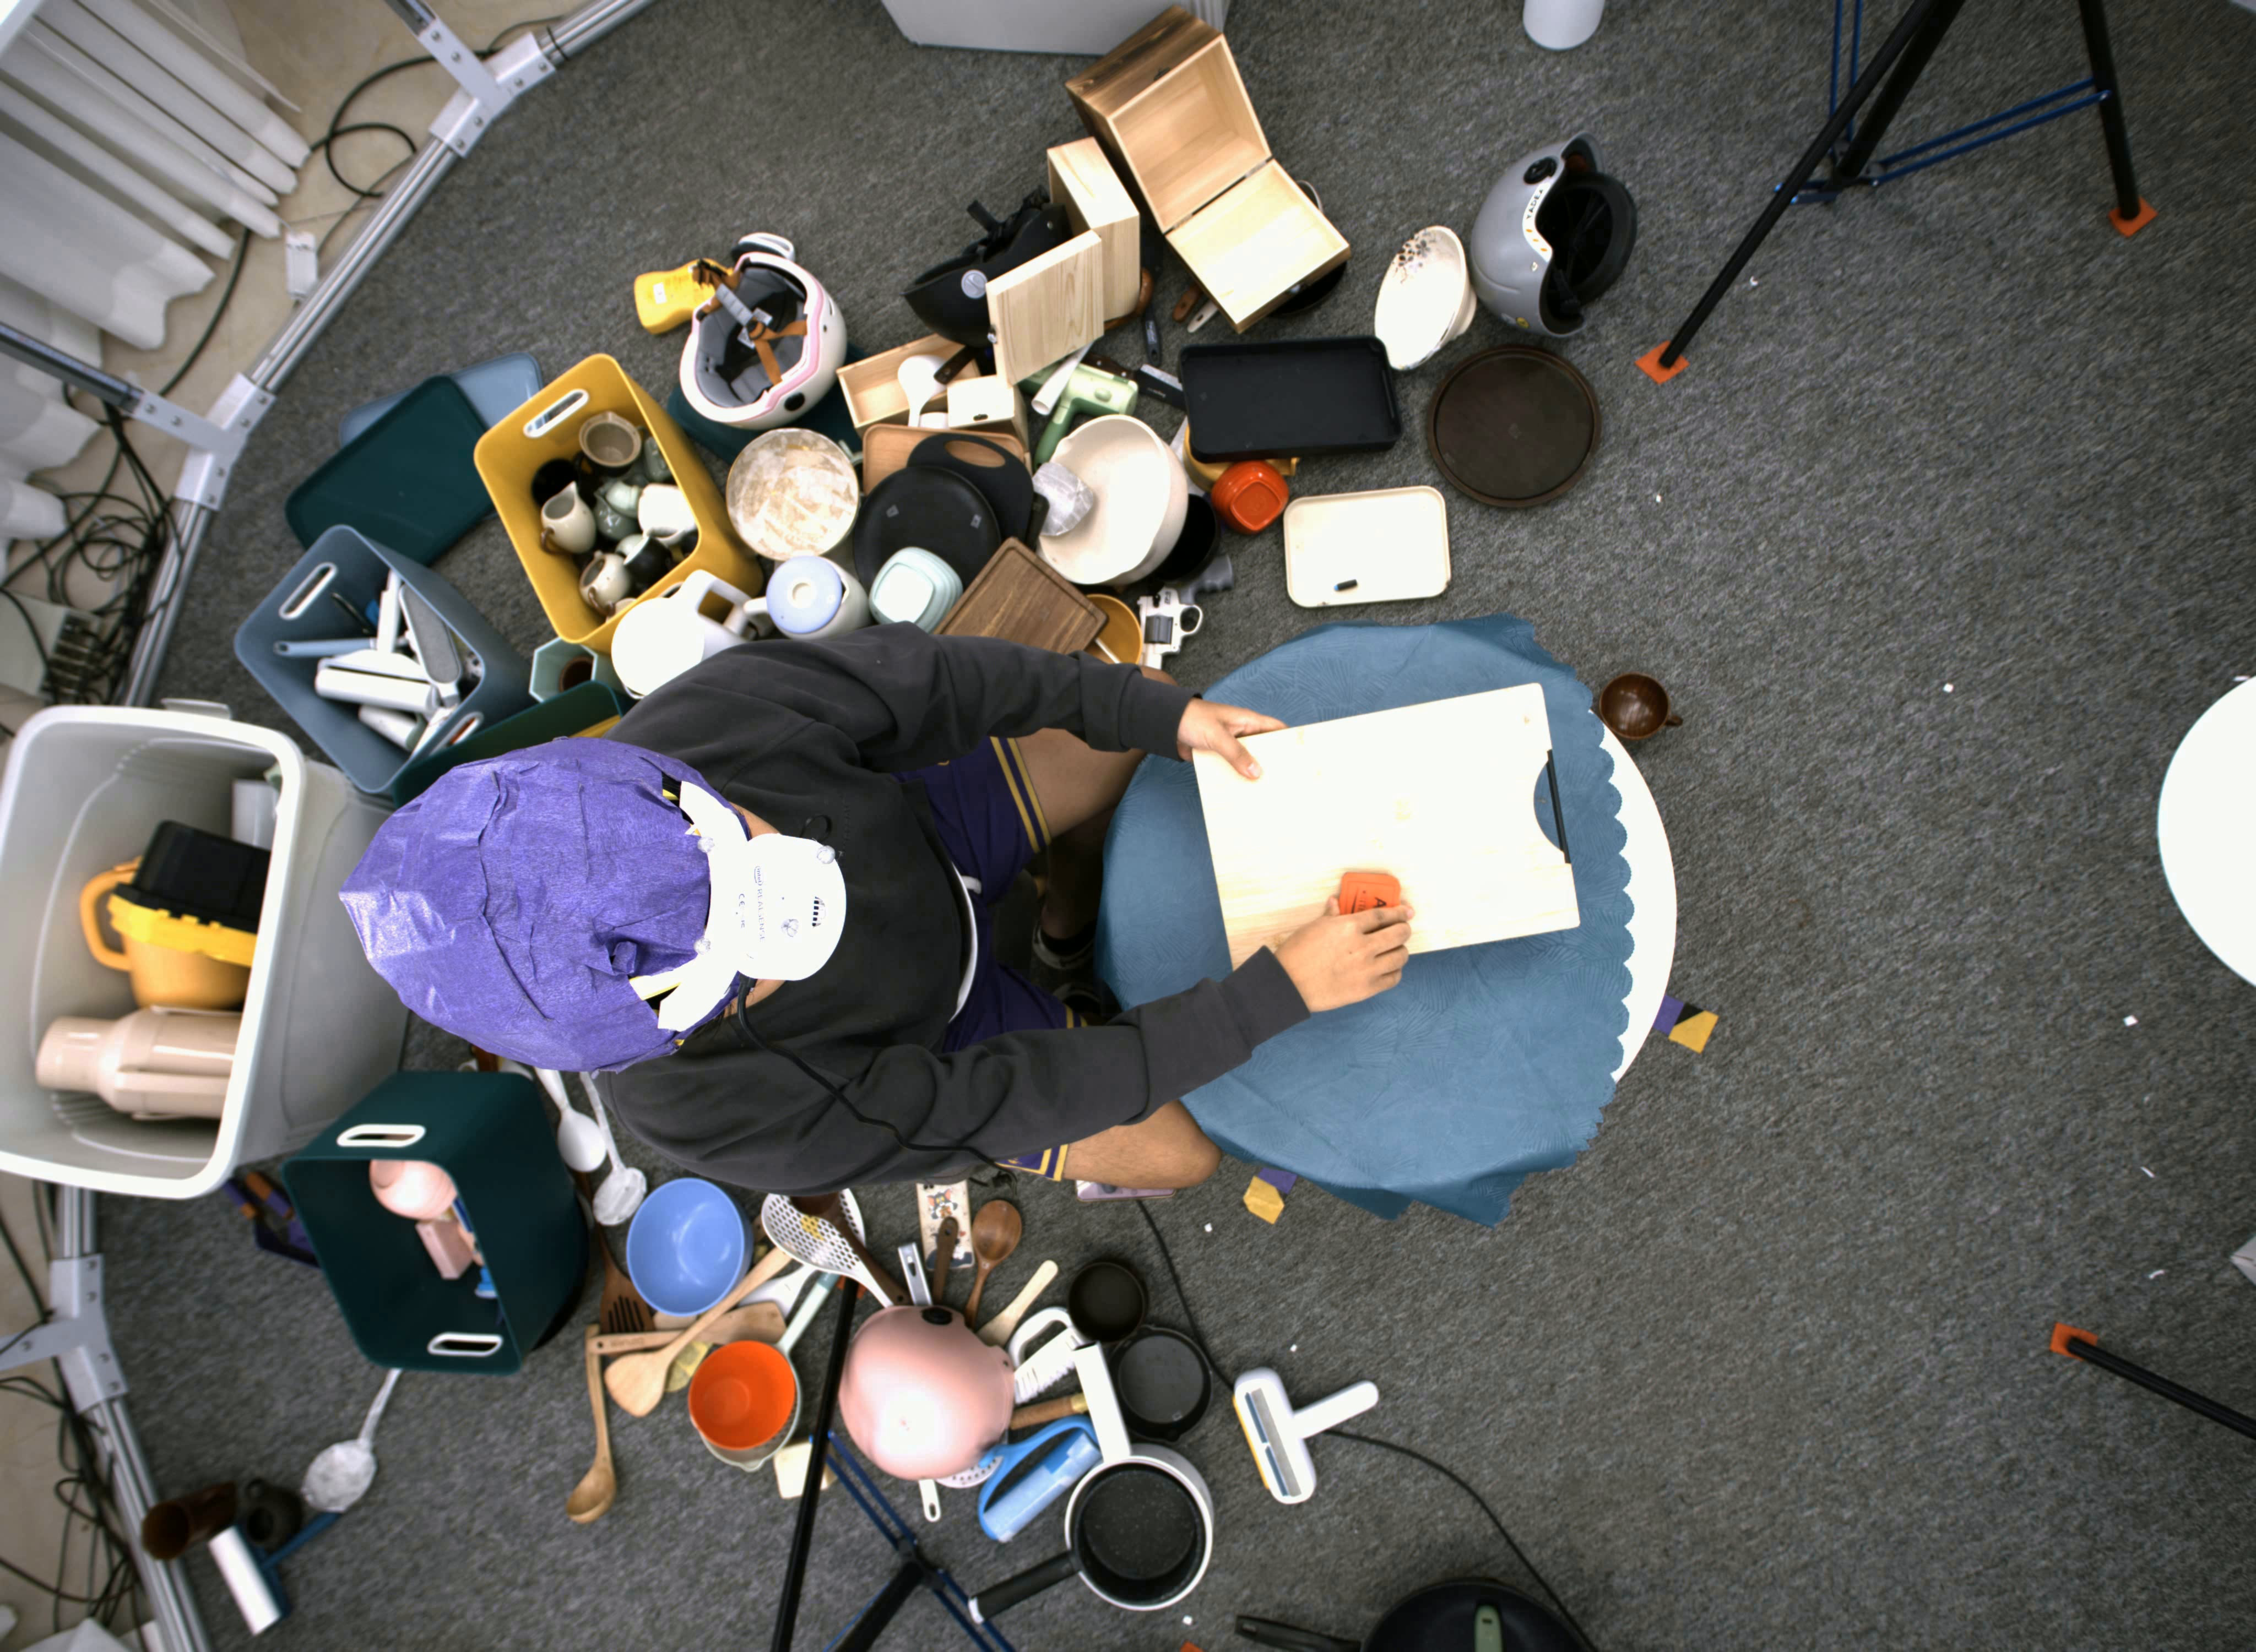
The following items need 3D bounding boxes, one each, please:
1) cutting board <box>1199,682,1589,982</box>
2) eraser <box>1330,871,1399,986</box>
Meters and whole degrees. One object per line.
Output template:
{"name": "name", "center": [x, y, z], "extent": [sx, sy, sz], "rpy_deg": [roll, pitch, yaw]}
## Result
{"name": "cutting board", "center": [0.256, 0.007, 1.346], "extent": [0.350, 0.023, 0.252], "rpy_deg": [-11, 99, 9]}
{"name": "eraser", "center": [0.230, 0.098, 1.345], "extent": [0.059, 0.022, 0.109], "rpy_deg": [6, 100, 7]}
